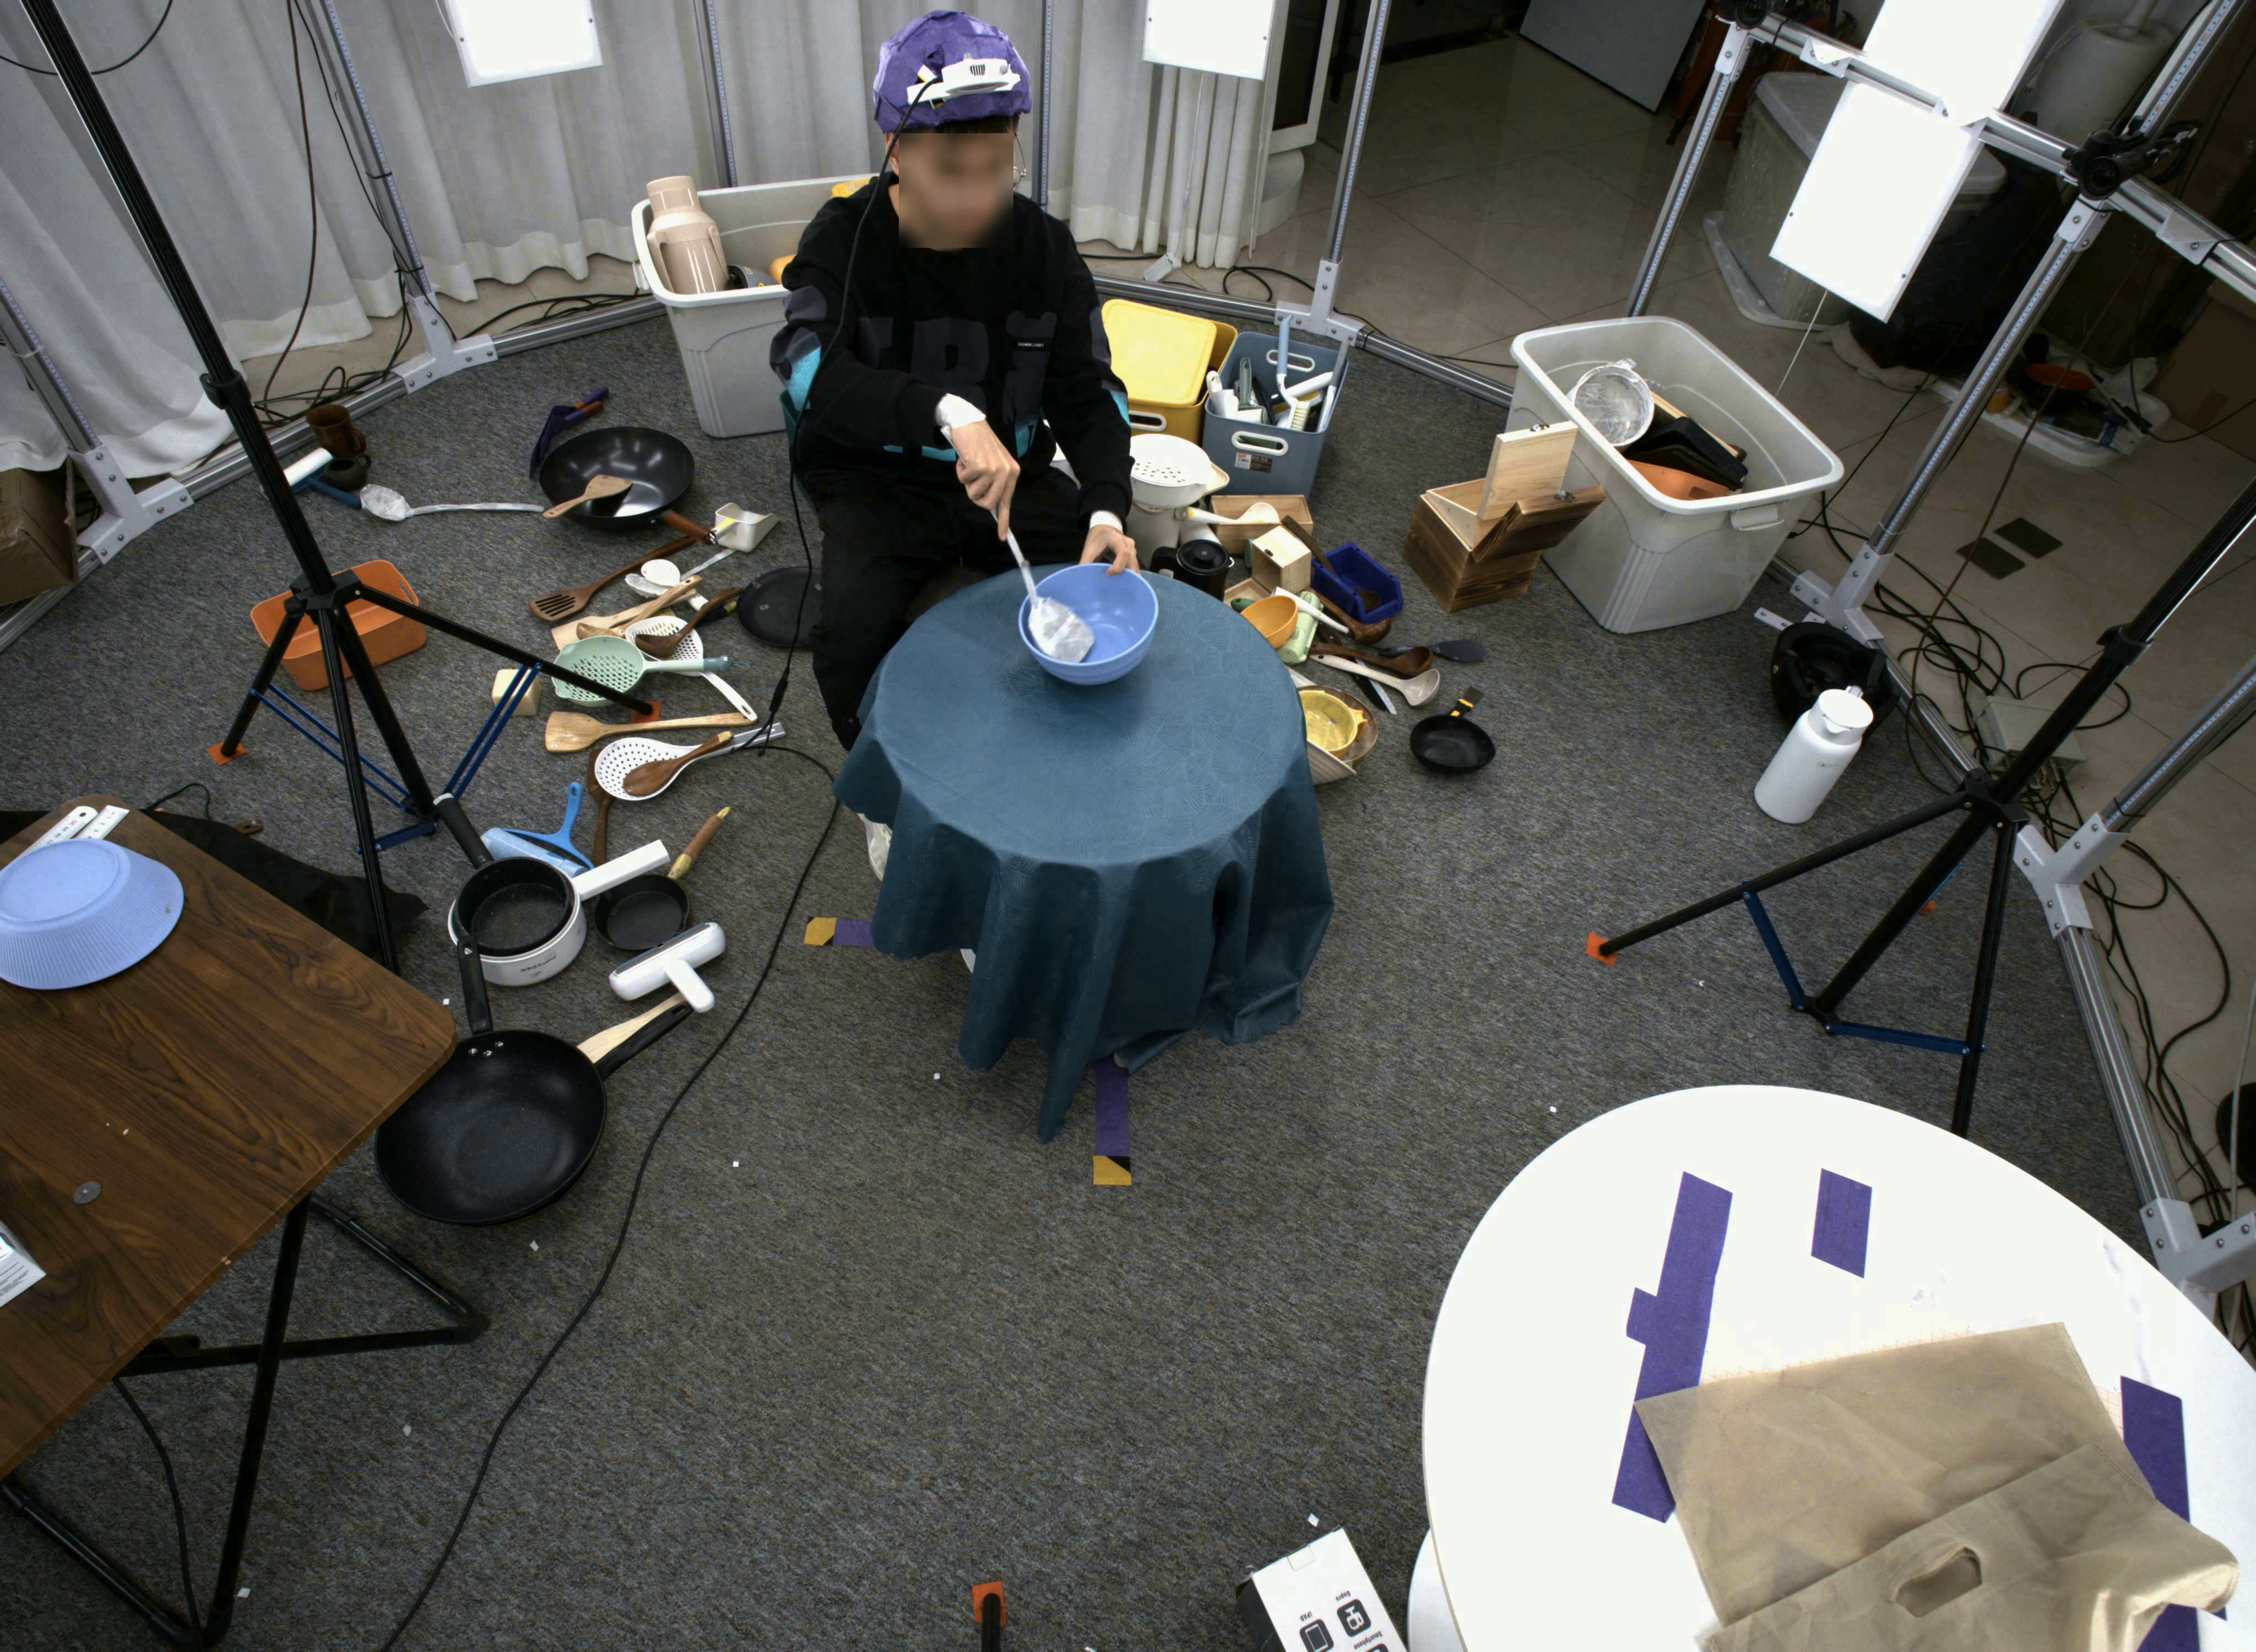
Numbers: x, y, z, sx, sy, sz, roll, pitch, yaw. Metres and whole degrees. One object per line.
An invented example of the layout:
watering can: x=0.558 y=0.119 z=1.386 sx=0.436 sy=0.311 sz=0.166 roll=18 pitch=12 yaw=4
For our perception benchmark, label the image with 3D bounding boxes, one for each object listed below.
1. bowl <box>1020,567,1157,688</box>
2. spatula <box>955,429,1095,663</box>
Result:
bowl: x=-0.050 y=-0.270 z=1.845 sx=0.196 sy=0.093 sz=0.201 roll=-5 pitch=53 yaw=7
spatula: x=-0.148 y=-0.377 z=1.782 sx=0.045 sy=0.358 sz=0.100 roll=-3 pitch=34 yaw=37
